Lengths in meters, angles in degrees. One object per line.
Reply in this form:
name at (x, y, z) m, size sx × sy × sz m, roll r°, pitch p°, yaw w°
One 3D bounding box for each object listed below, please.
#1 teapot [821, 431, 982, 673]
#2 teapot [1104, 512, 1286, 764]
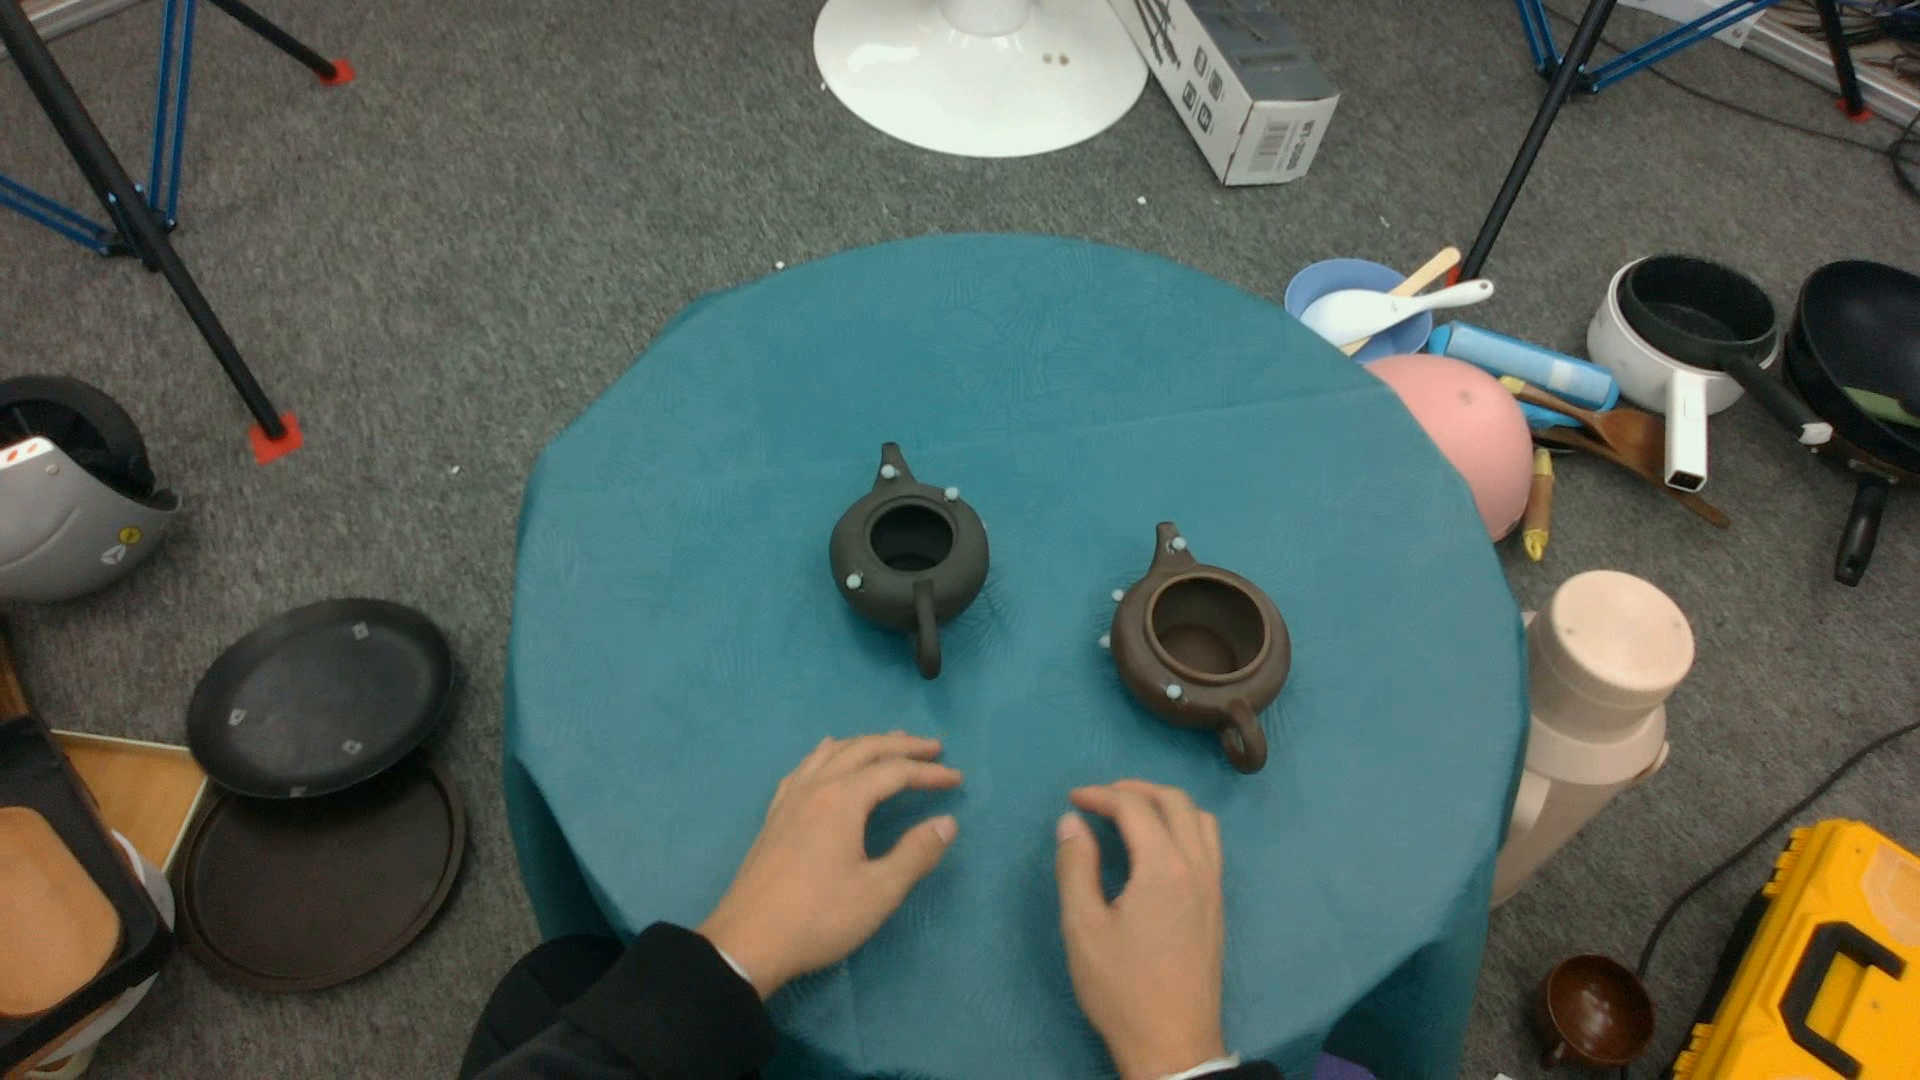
teapot at (-0.033, 0.008, 0.791) m, size 0.092 × 0.064 × 0.155 m, roll -7°, pitch 56°, yaw -8°
teapot at (0.135, 0.057, 0.776) m, size 0.103 × 0.053 × 0.154 m, roll -17°, pitch 58°, yaw -13°
